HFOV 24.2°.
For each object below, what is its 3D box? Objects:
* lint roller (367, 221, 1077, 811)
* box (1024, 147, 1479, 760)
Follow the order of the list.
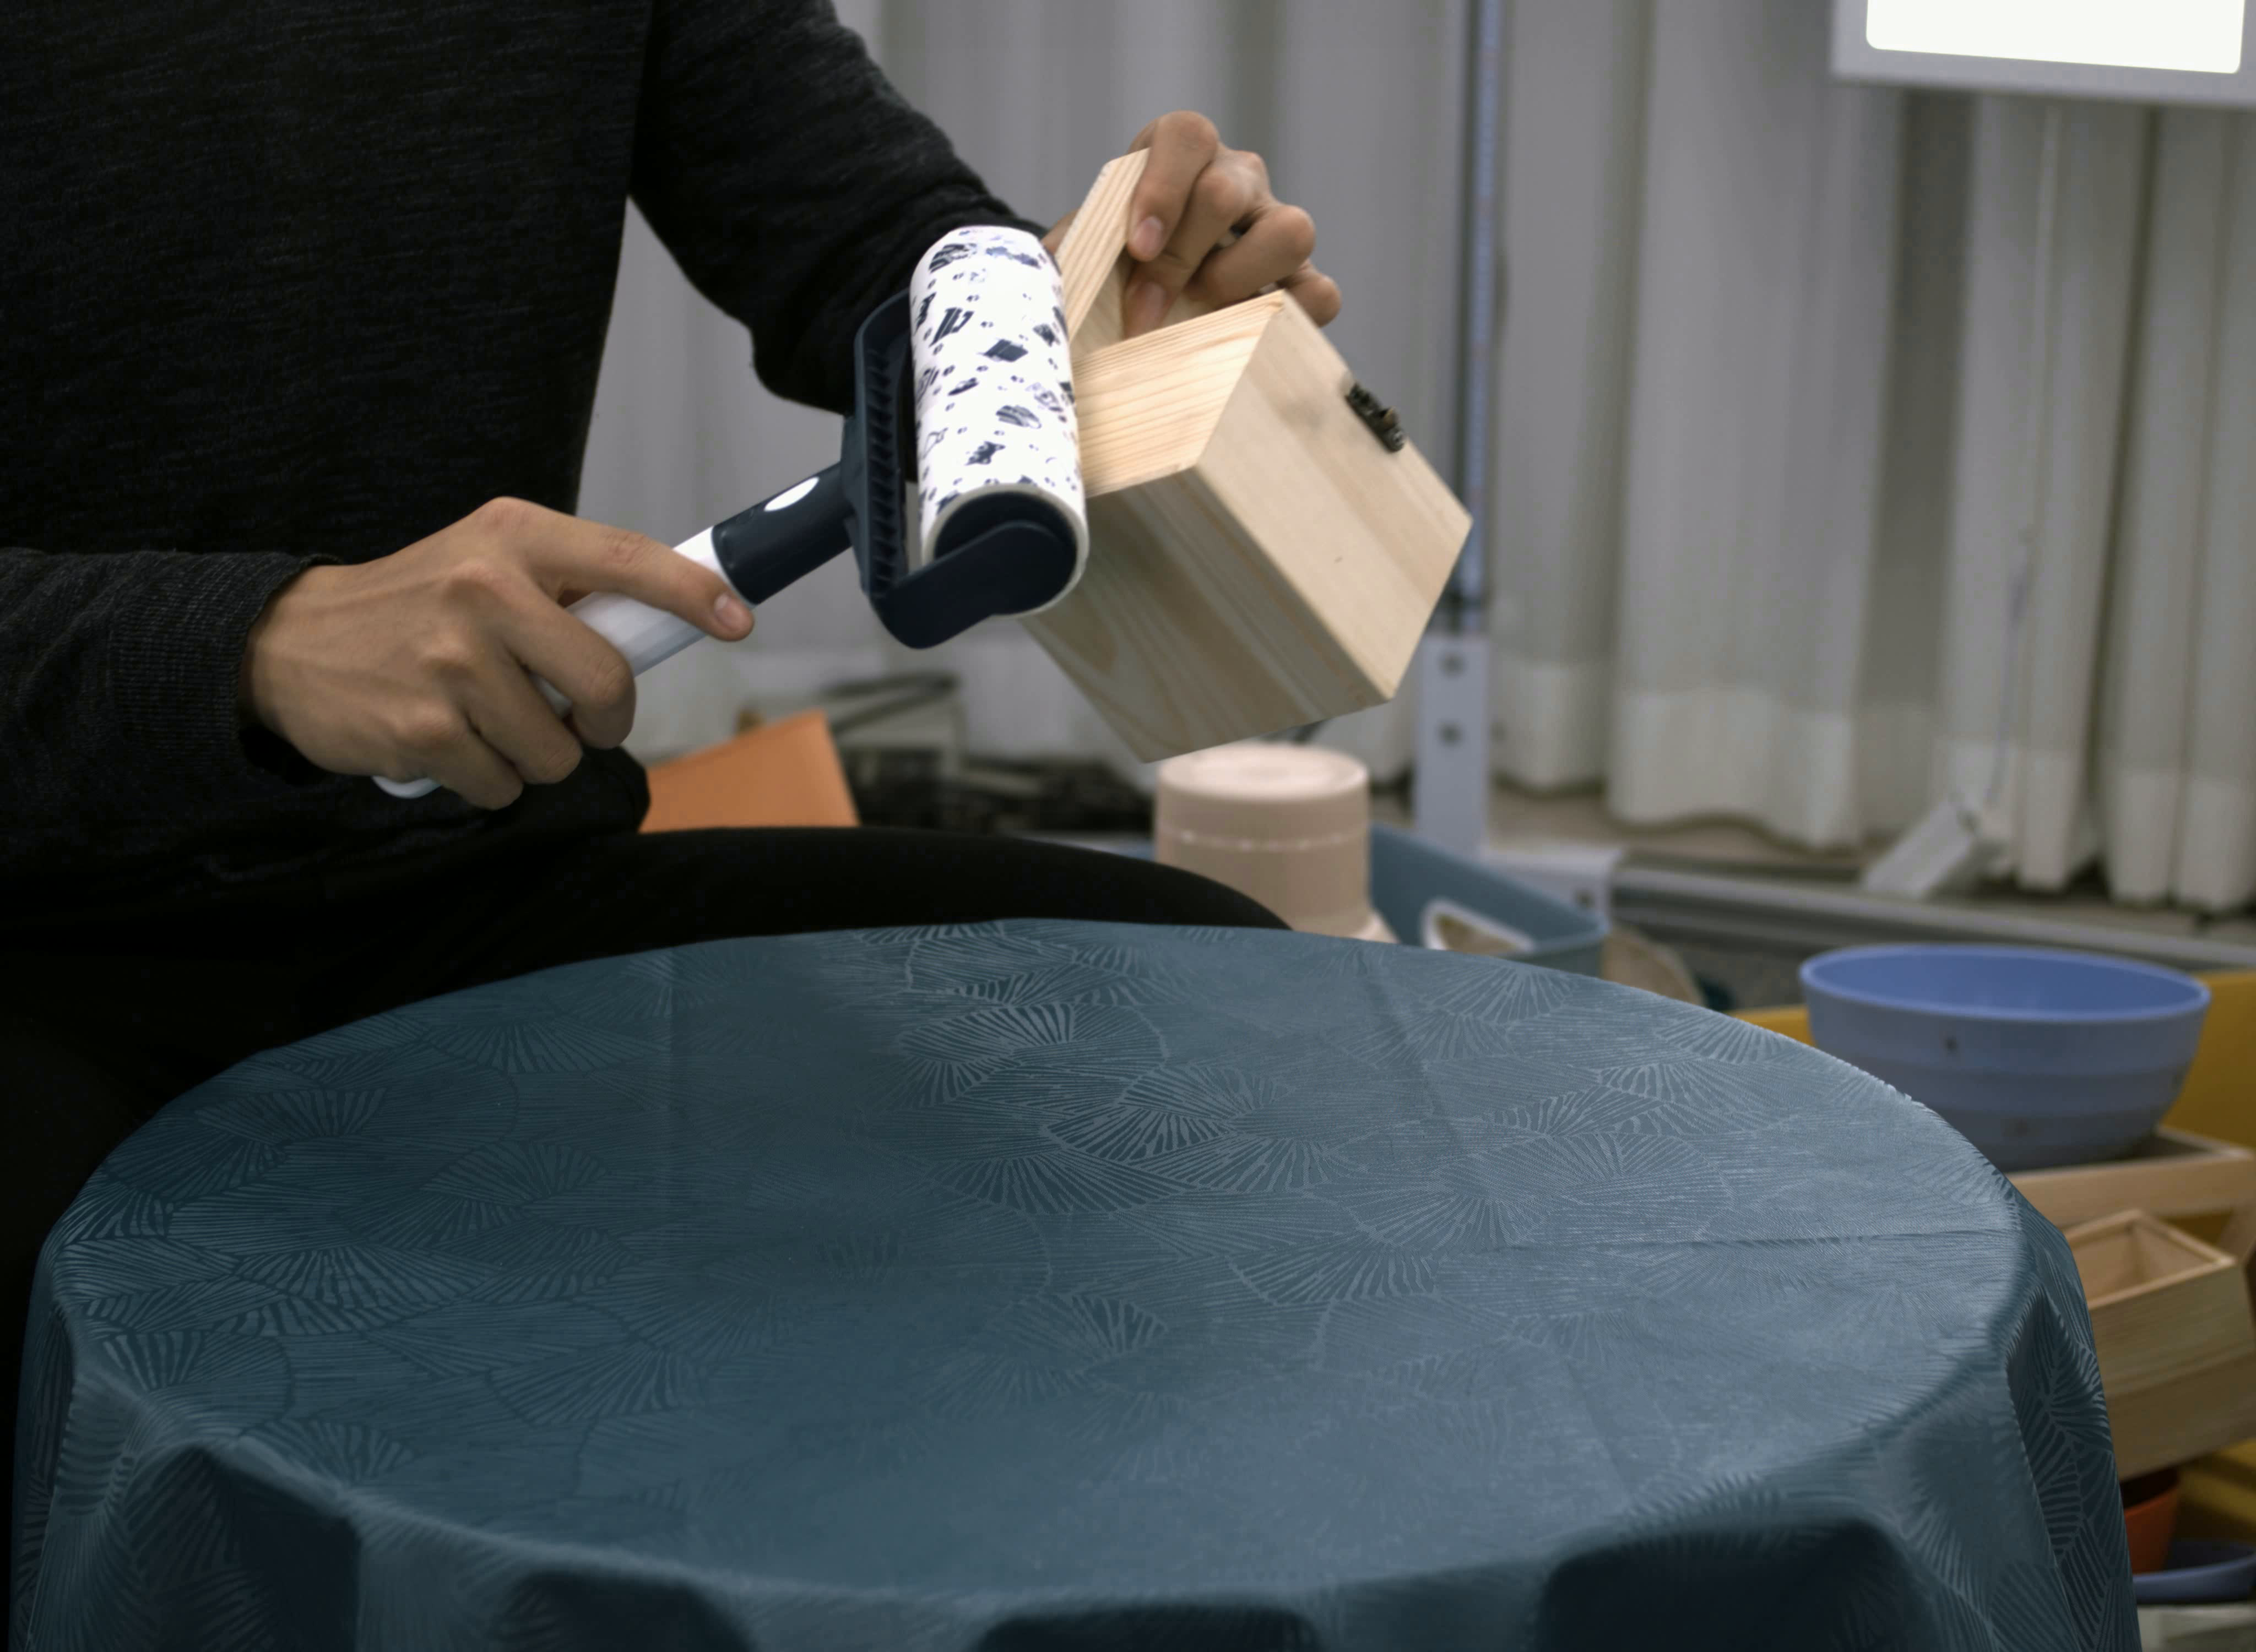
[{"bbox_3d":[-0.127,-0.075,1.566,0.246,0.051,0.174,-28,32,13],"label":"lint roller"},{"bbox_3d":[0.039,-0.127,1.612,0.133,0.104,0.184,-14,38,41],"label":"box"}]
